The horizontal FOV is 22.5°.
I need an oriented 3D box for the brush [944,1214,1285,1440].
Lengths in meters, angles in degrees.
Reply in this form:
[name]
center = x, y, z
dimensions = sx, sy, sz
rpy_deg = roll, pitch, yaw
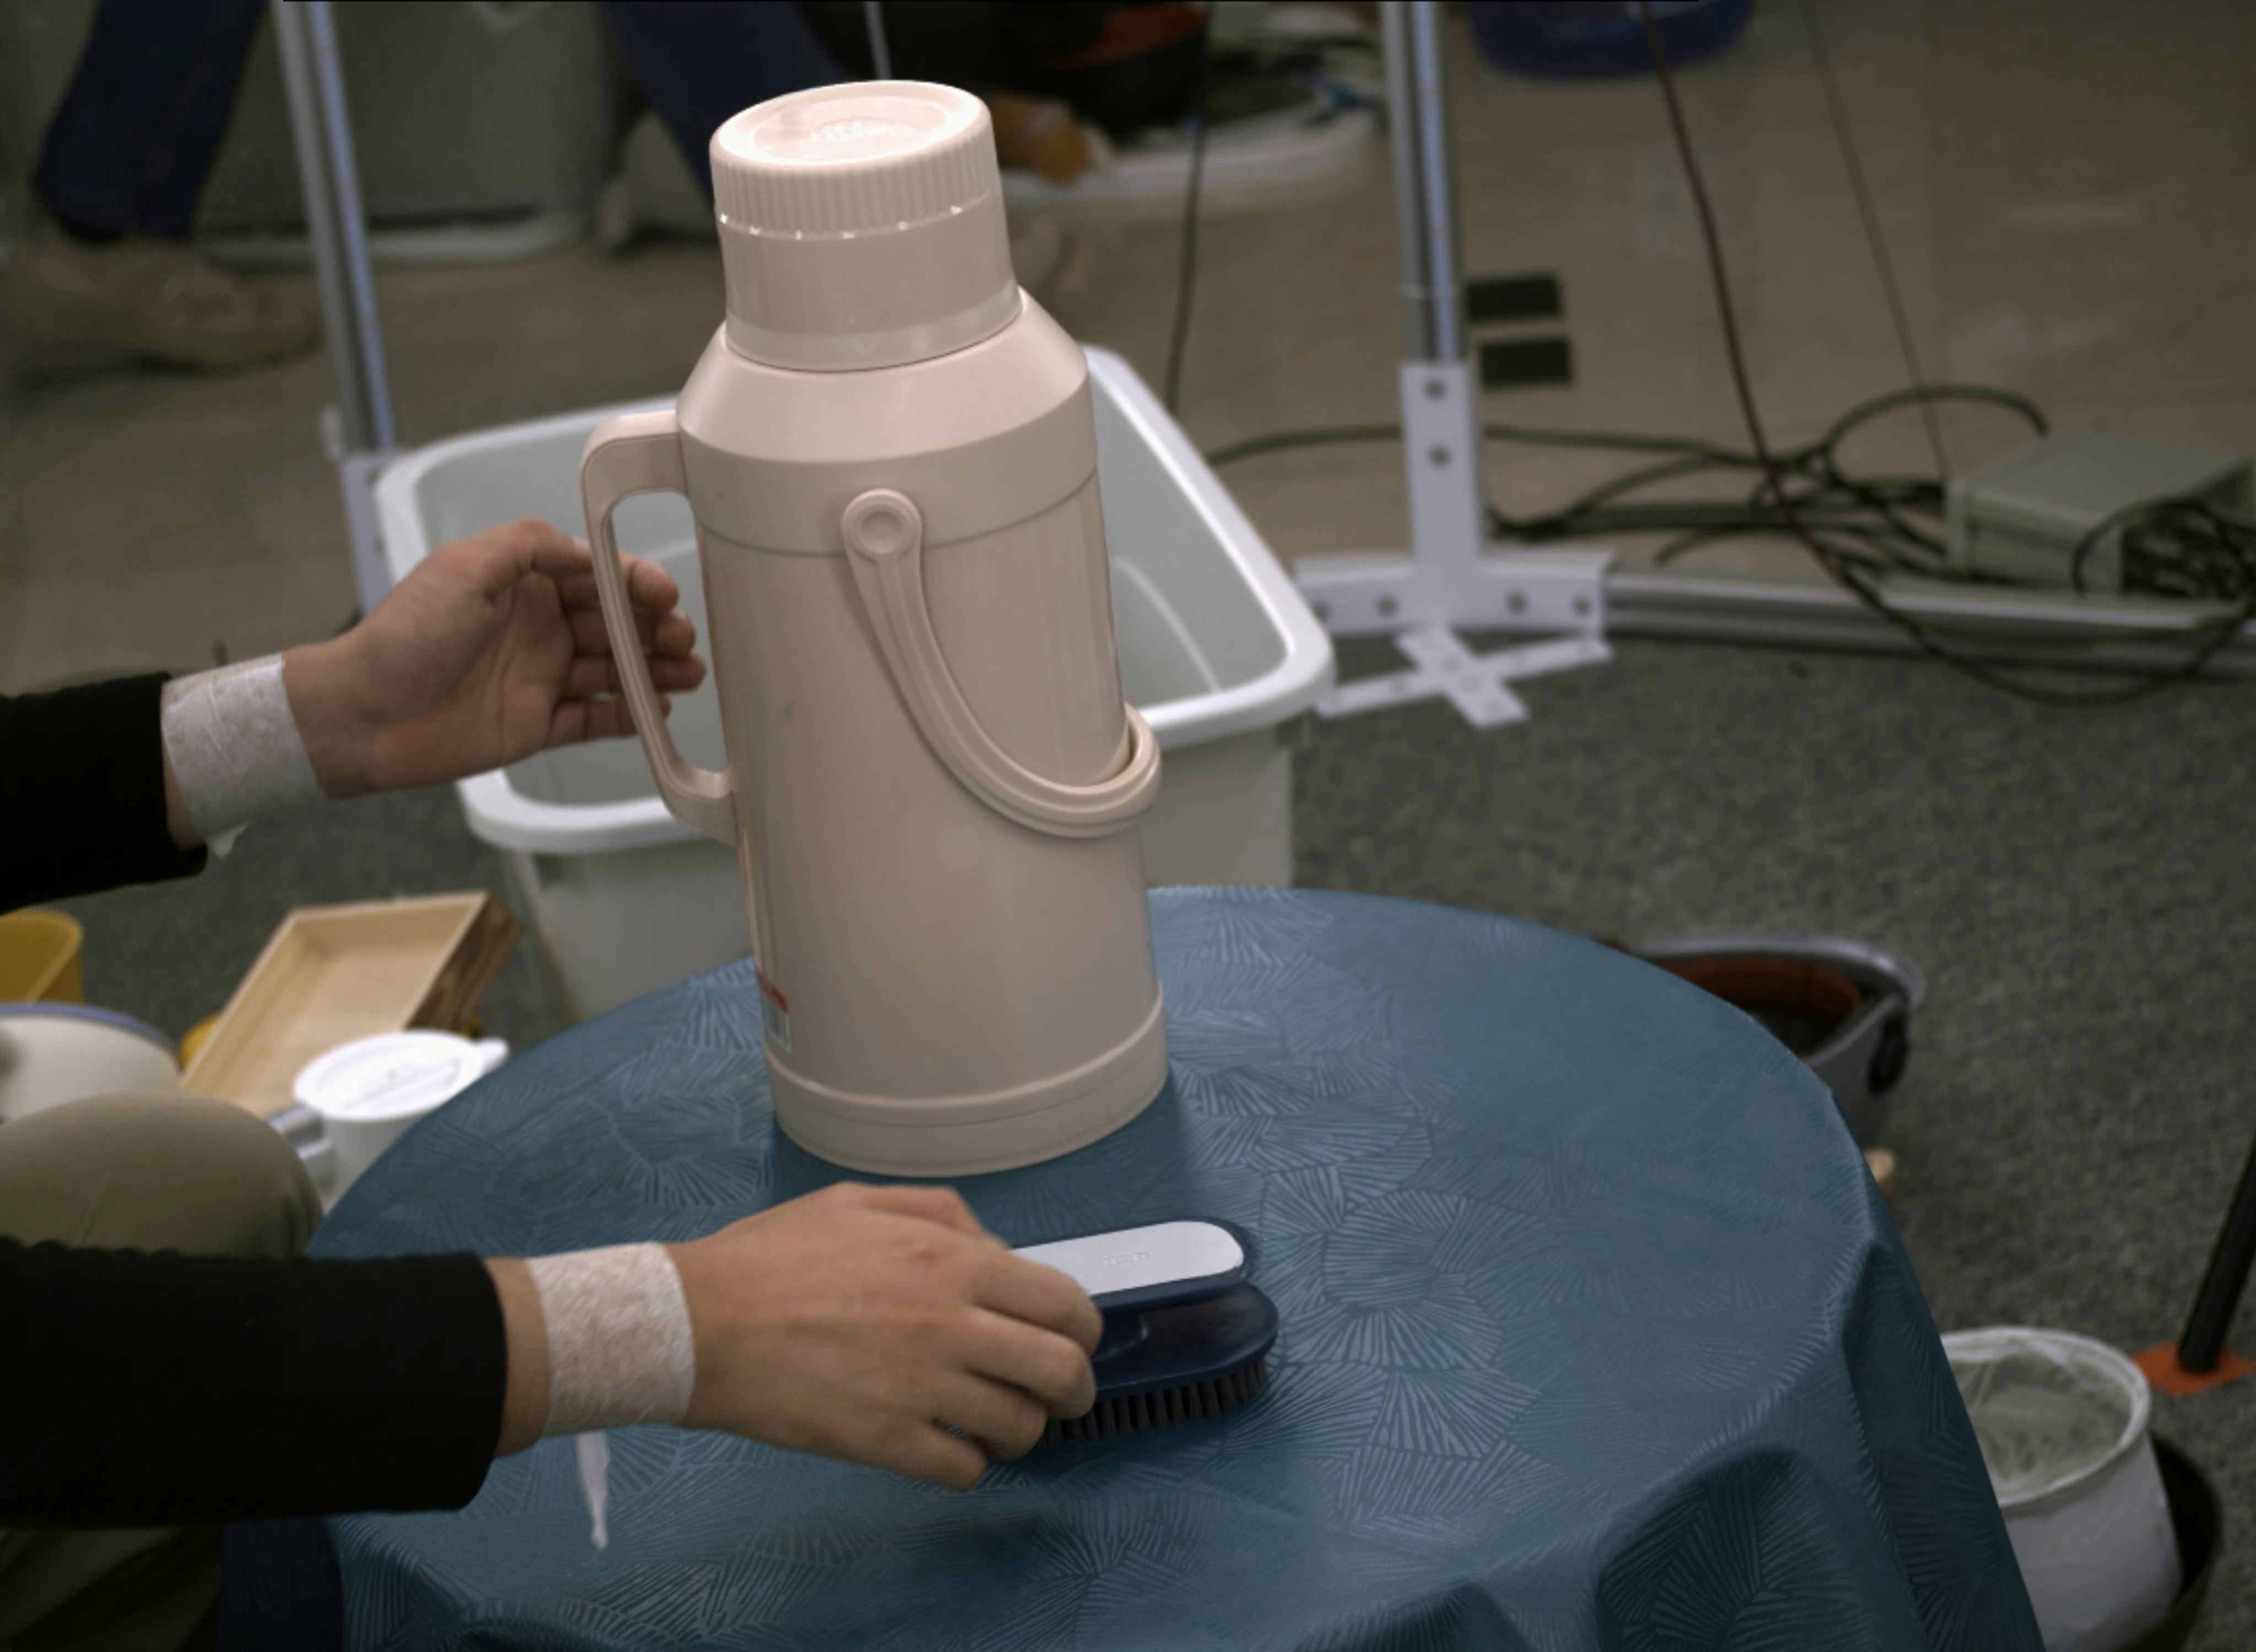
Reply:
[brush]
center = -0.005, 0.178, 2.001
dimensions = 0.121, 0.062, 0.067
rpy_deg = -8, 25, -5

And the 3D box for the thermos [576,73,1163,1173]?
[thermos]
center = -0.097, -0.077, 2.158
dimensions = 0.207, 0.413, 0.172
rpy_deg = -5, 27, 1
